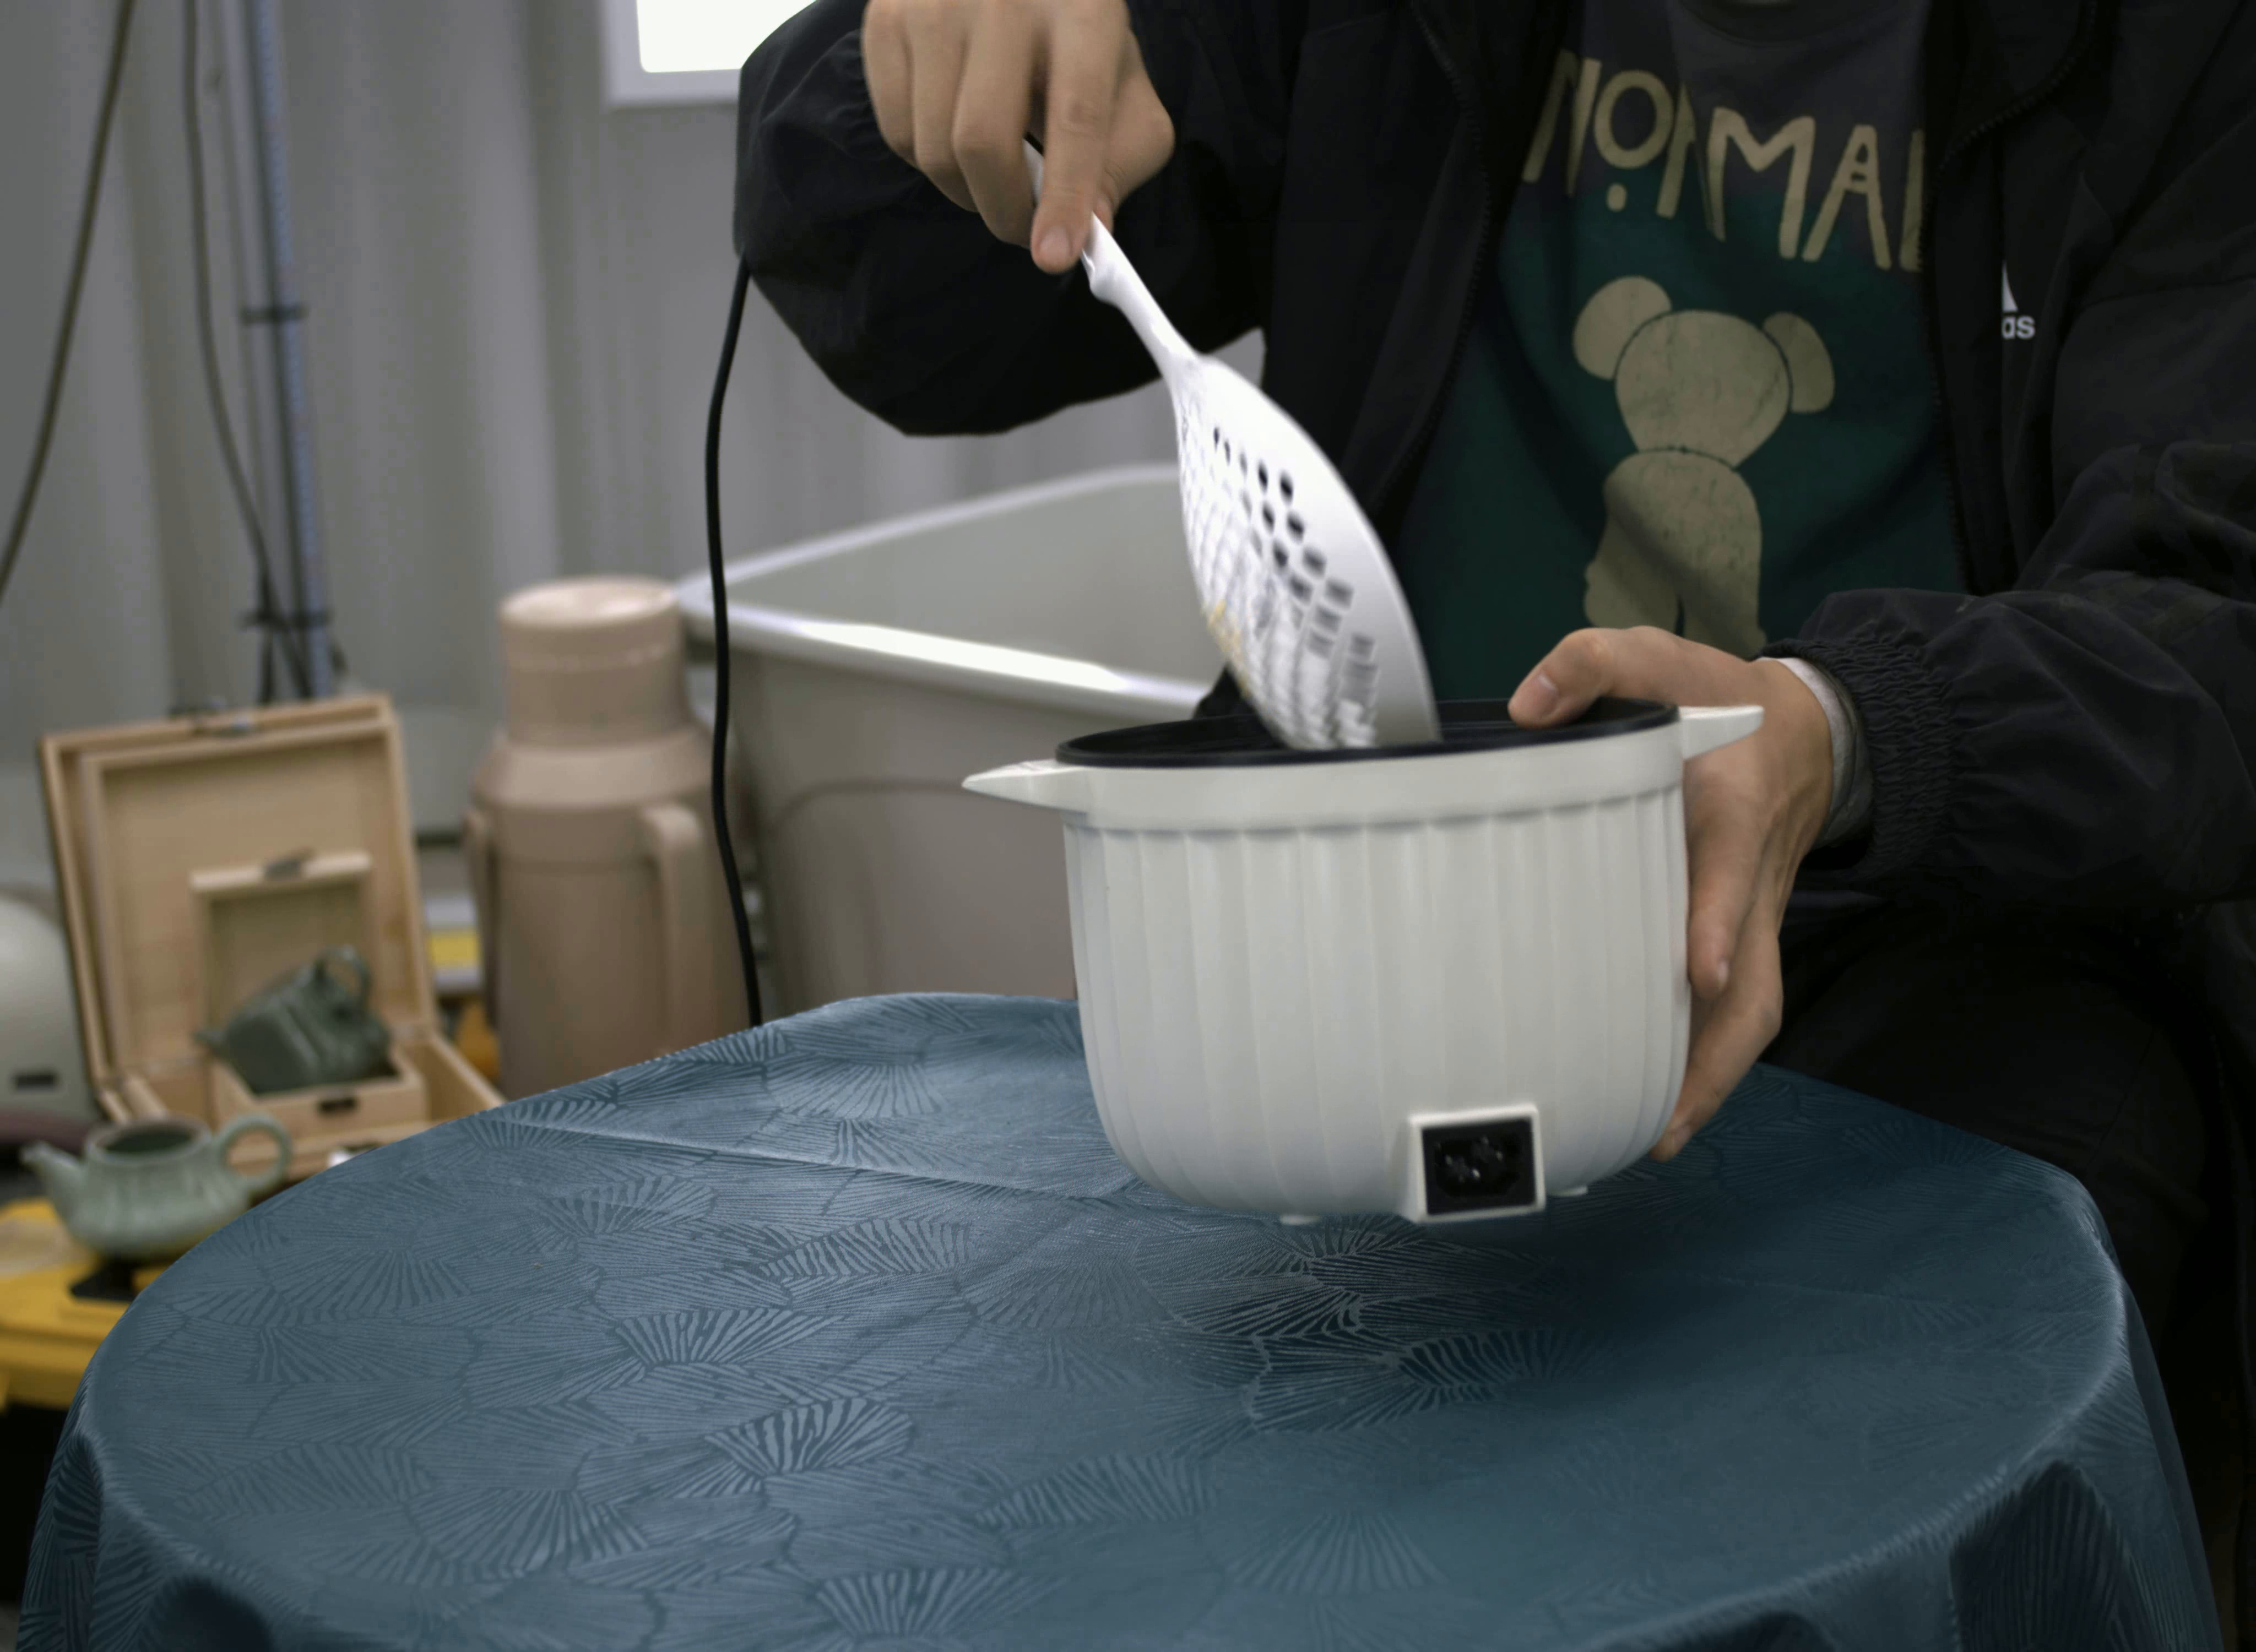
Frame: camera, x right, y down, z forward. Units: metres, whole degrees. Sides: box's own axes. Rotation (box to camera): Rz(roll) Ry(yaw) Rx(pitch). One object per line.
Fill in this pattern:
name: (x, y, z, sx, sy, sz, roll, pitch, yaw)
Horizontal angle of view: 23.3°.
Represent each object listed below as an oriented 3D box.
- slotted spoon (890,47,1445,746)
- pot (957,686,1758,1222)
slotted spoon: (0.009, -0.129, 1.661, 0.050, 0.135, 0.353, -22, 50, -7)
pot: (0.069, 0.035, 1.586, 0.239, 0.142, 0.191, -4, 7, -13)
